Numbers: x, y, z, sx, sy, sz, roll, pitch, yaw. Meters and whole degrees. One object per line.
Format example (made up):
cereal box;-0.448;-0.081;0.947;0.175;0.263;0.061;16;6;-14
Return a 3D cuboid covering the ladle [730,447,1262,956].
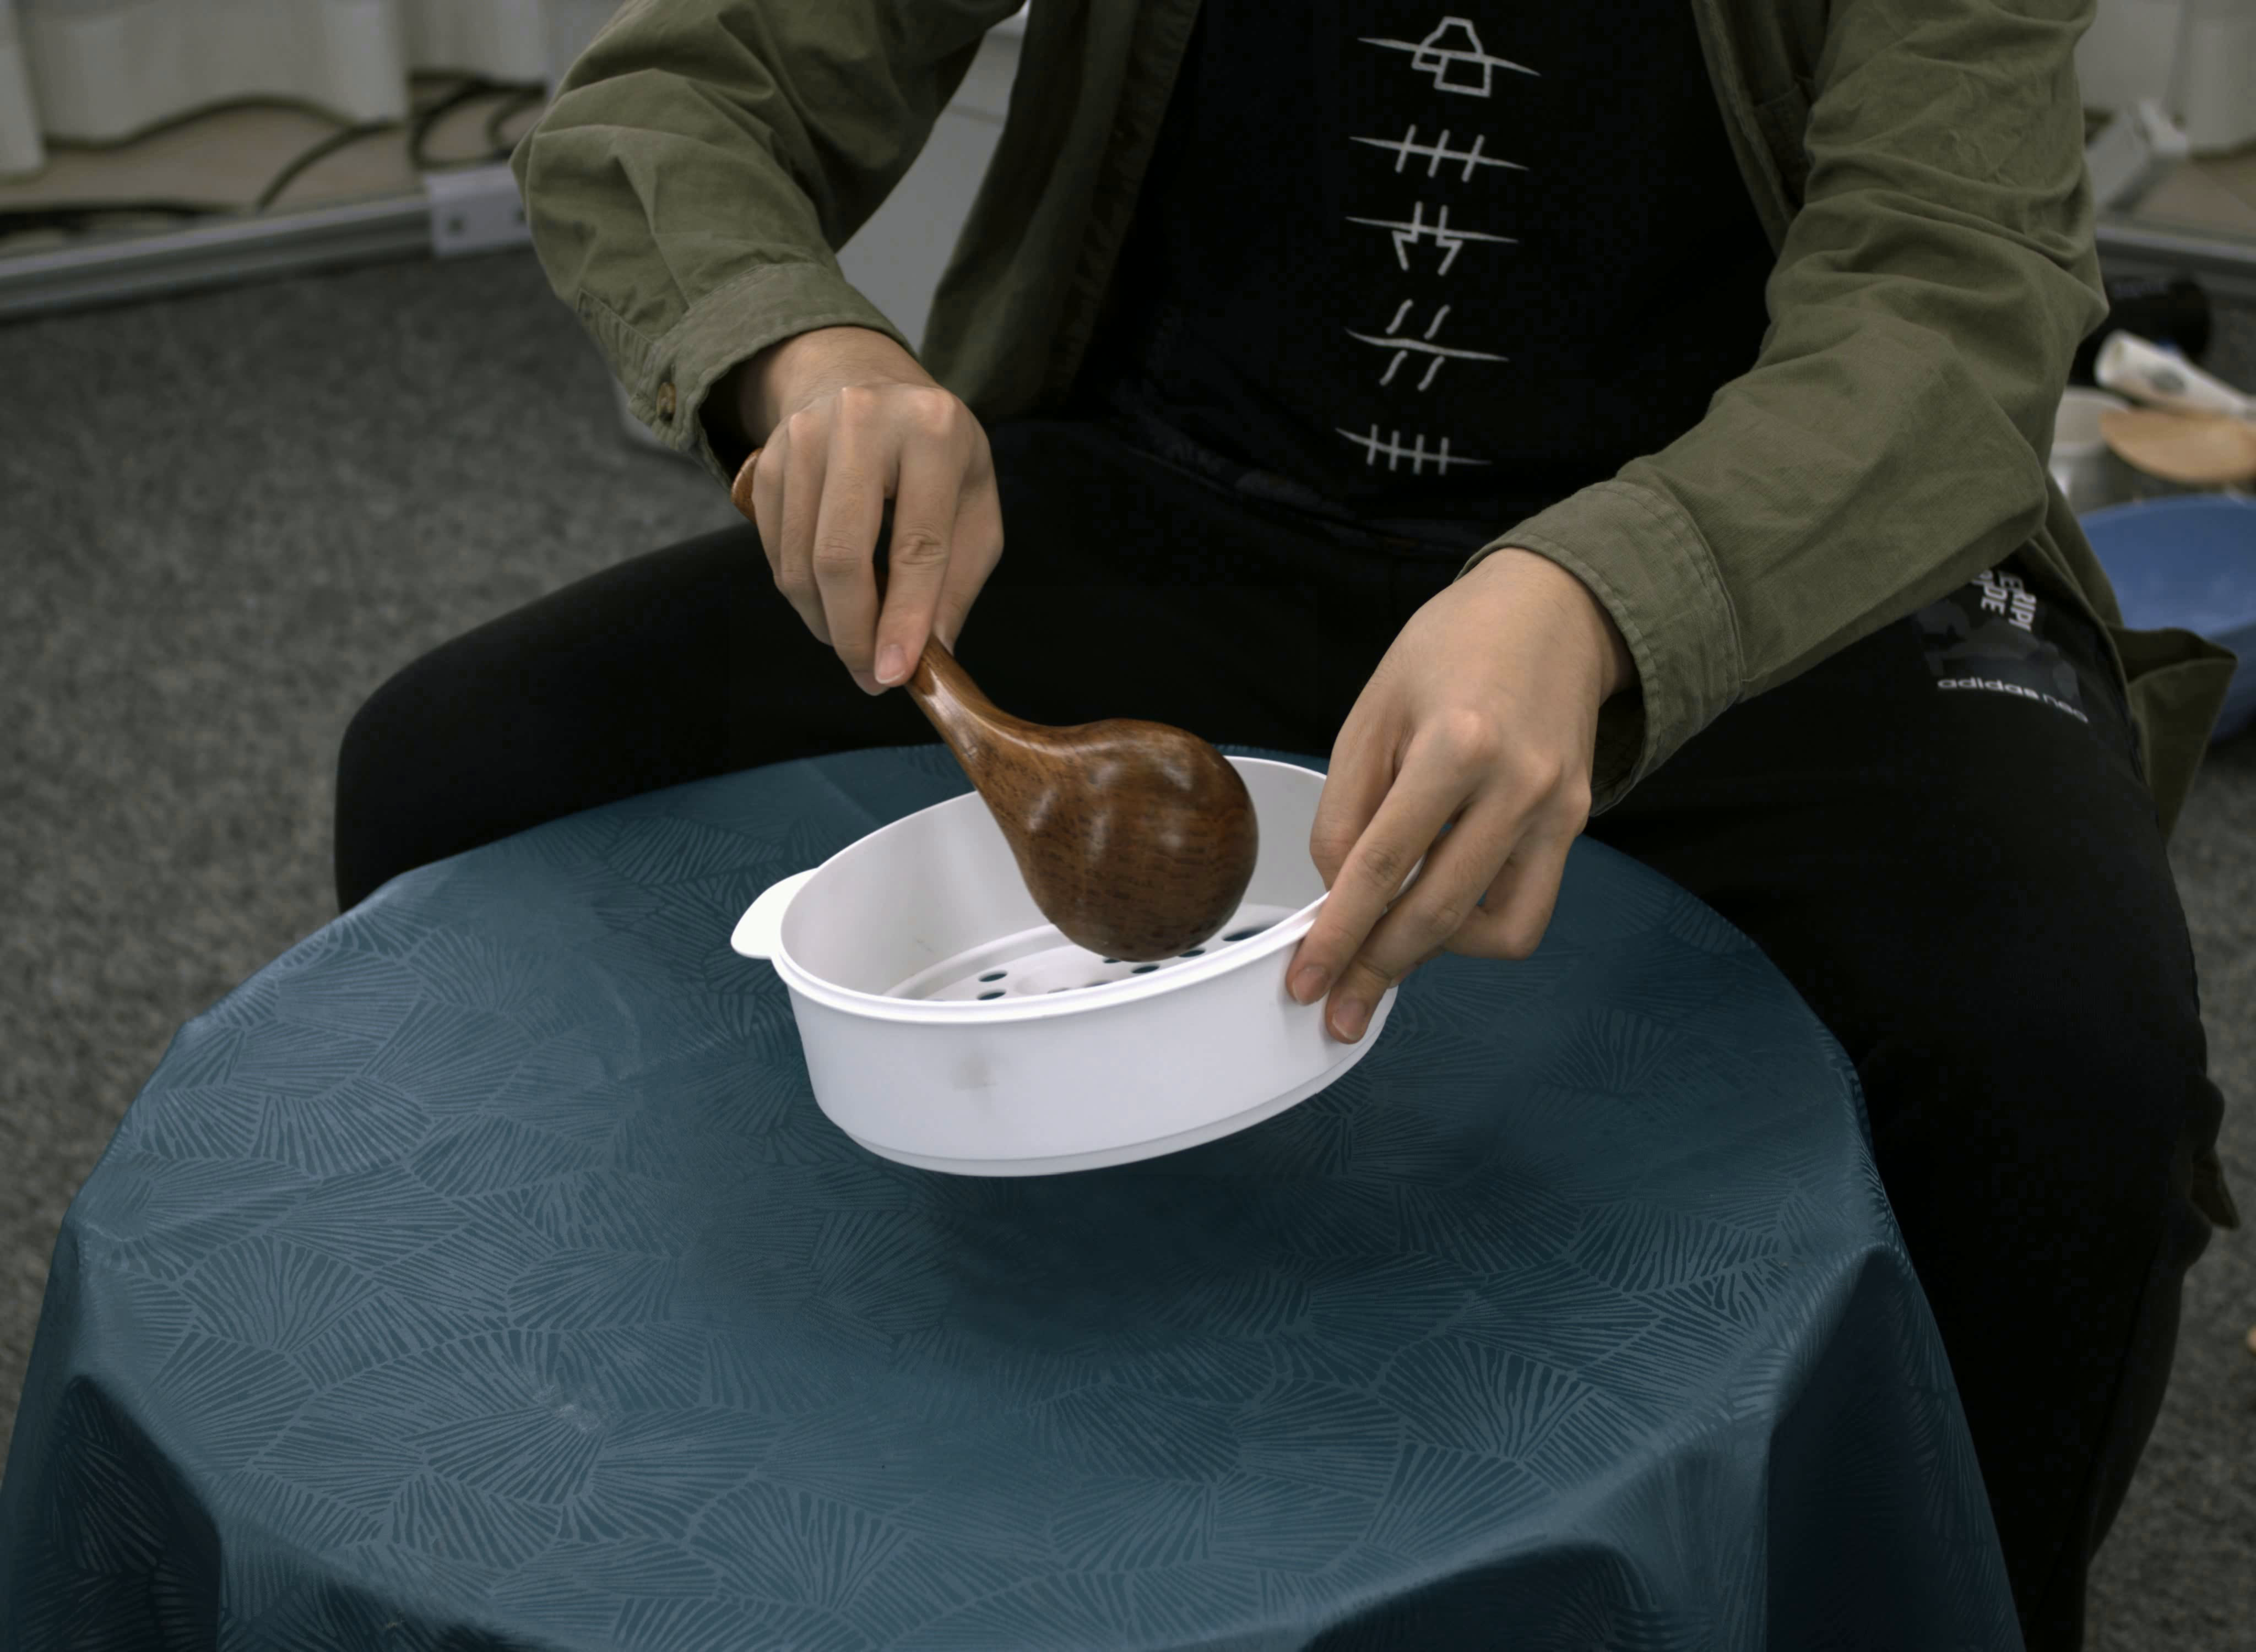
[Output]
ladle;-0.045;-0.052;1.891;0.076;0.081;0.276;16;21;-38

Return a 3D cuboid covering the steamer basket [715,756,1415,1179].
steamer basket;-0.016;0.046;1.811;0.228;0.069;0.205;-5;22;16
